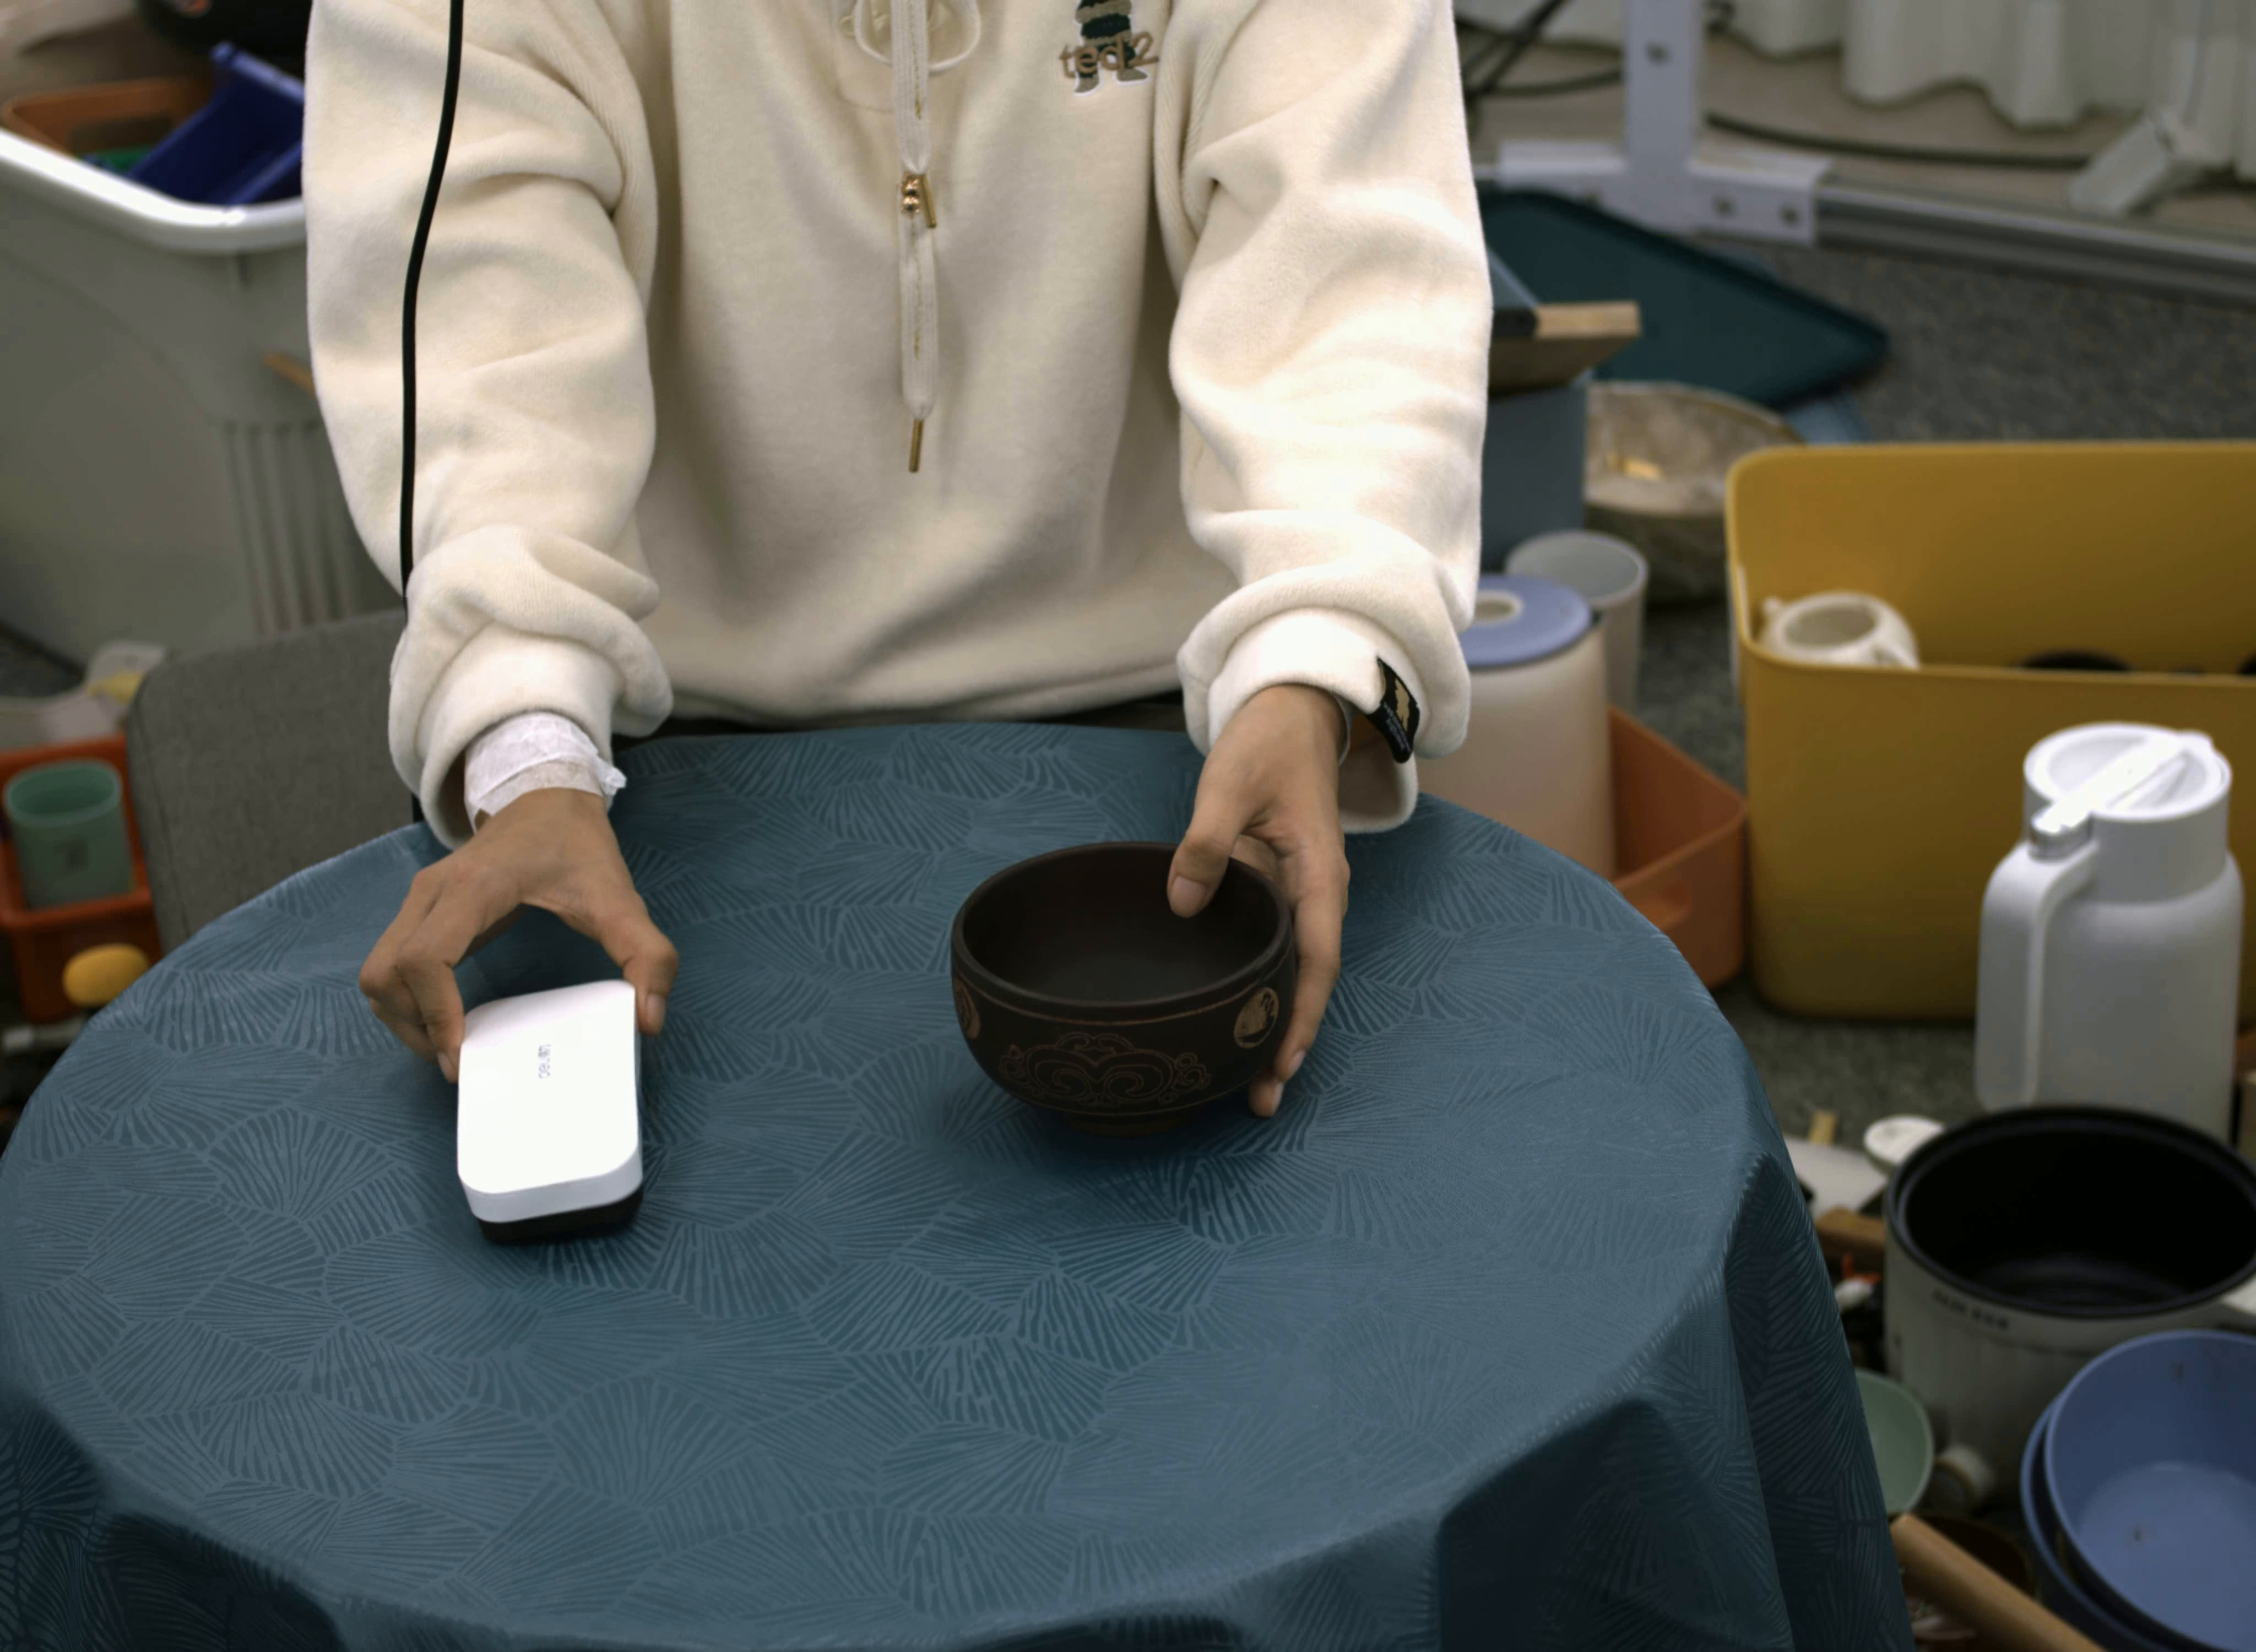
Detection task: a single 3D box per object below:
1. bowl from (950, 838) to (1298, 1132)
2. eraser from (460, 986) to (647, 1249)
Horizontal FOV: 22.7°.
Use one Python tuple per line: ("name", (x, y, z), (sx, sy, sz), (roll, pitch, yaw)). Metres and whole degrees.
("bowl", (-0.001, 0.060, 1.902), (0.117, 0.069, 0.120), (-1, 26, 1))
("eraser", (-0.192, 0.095, 1.896), (0.063, 0.034, 0.133), (-8, 28, -2))
